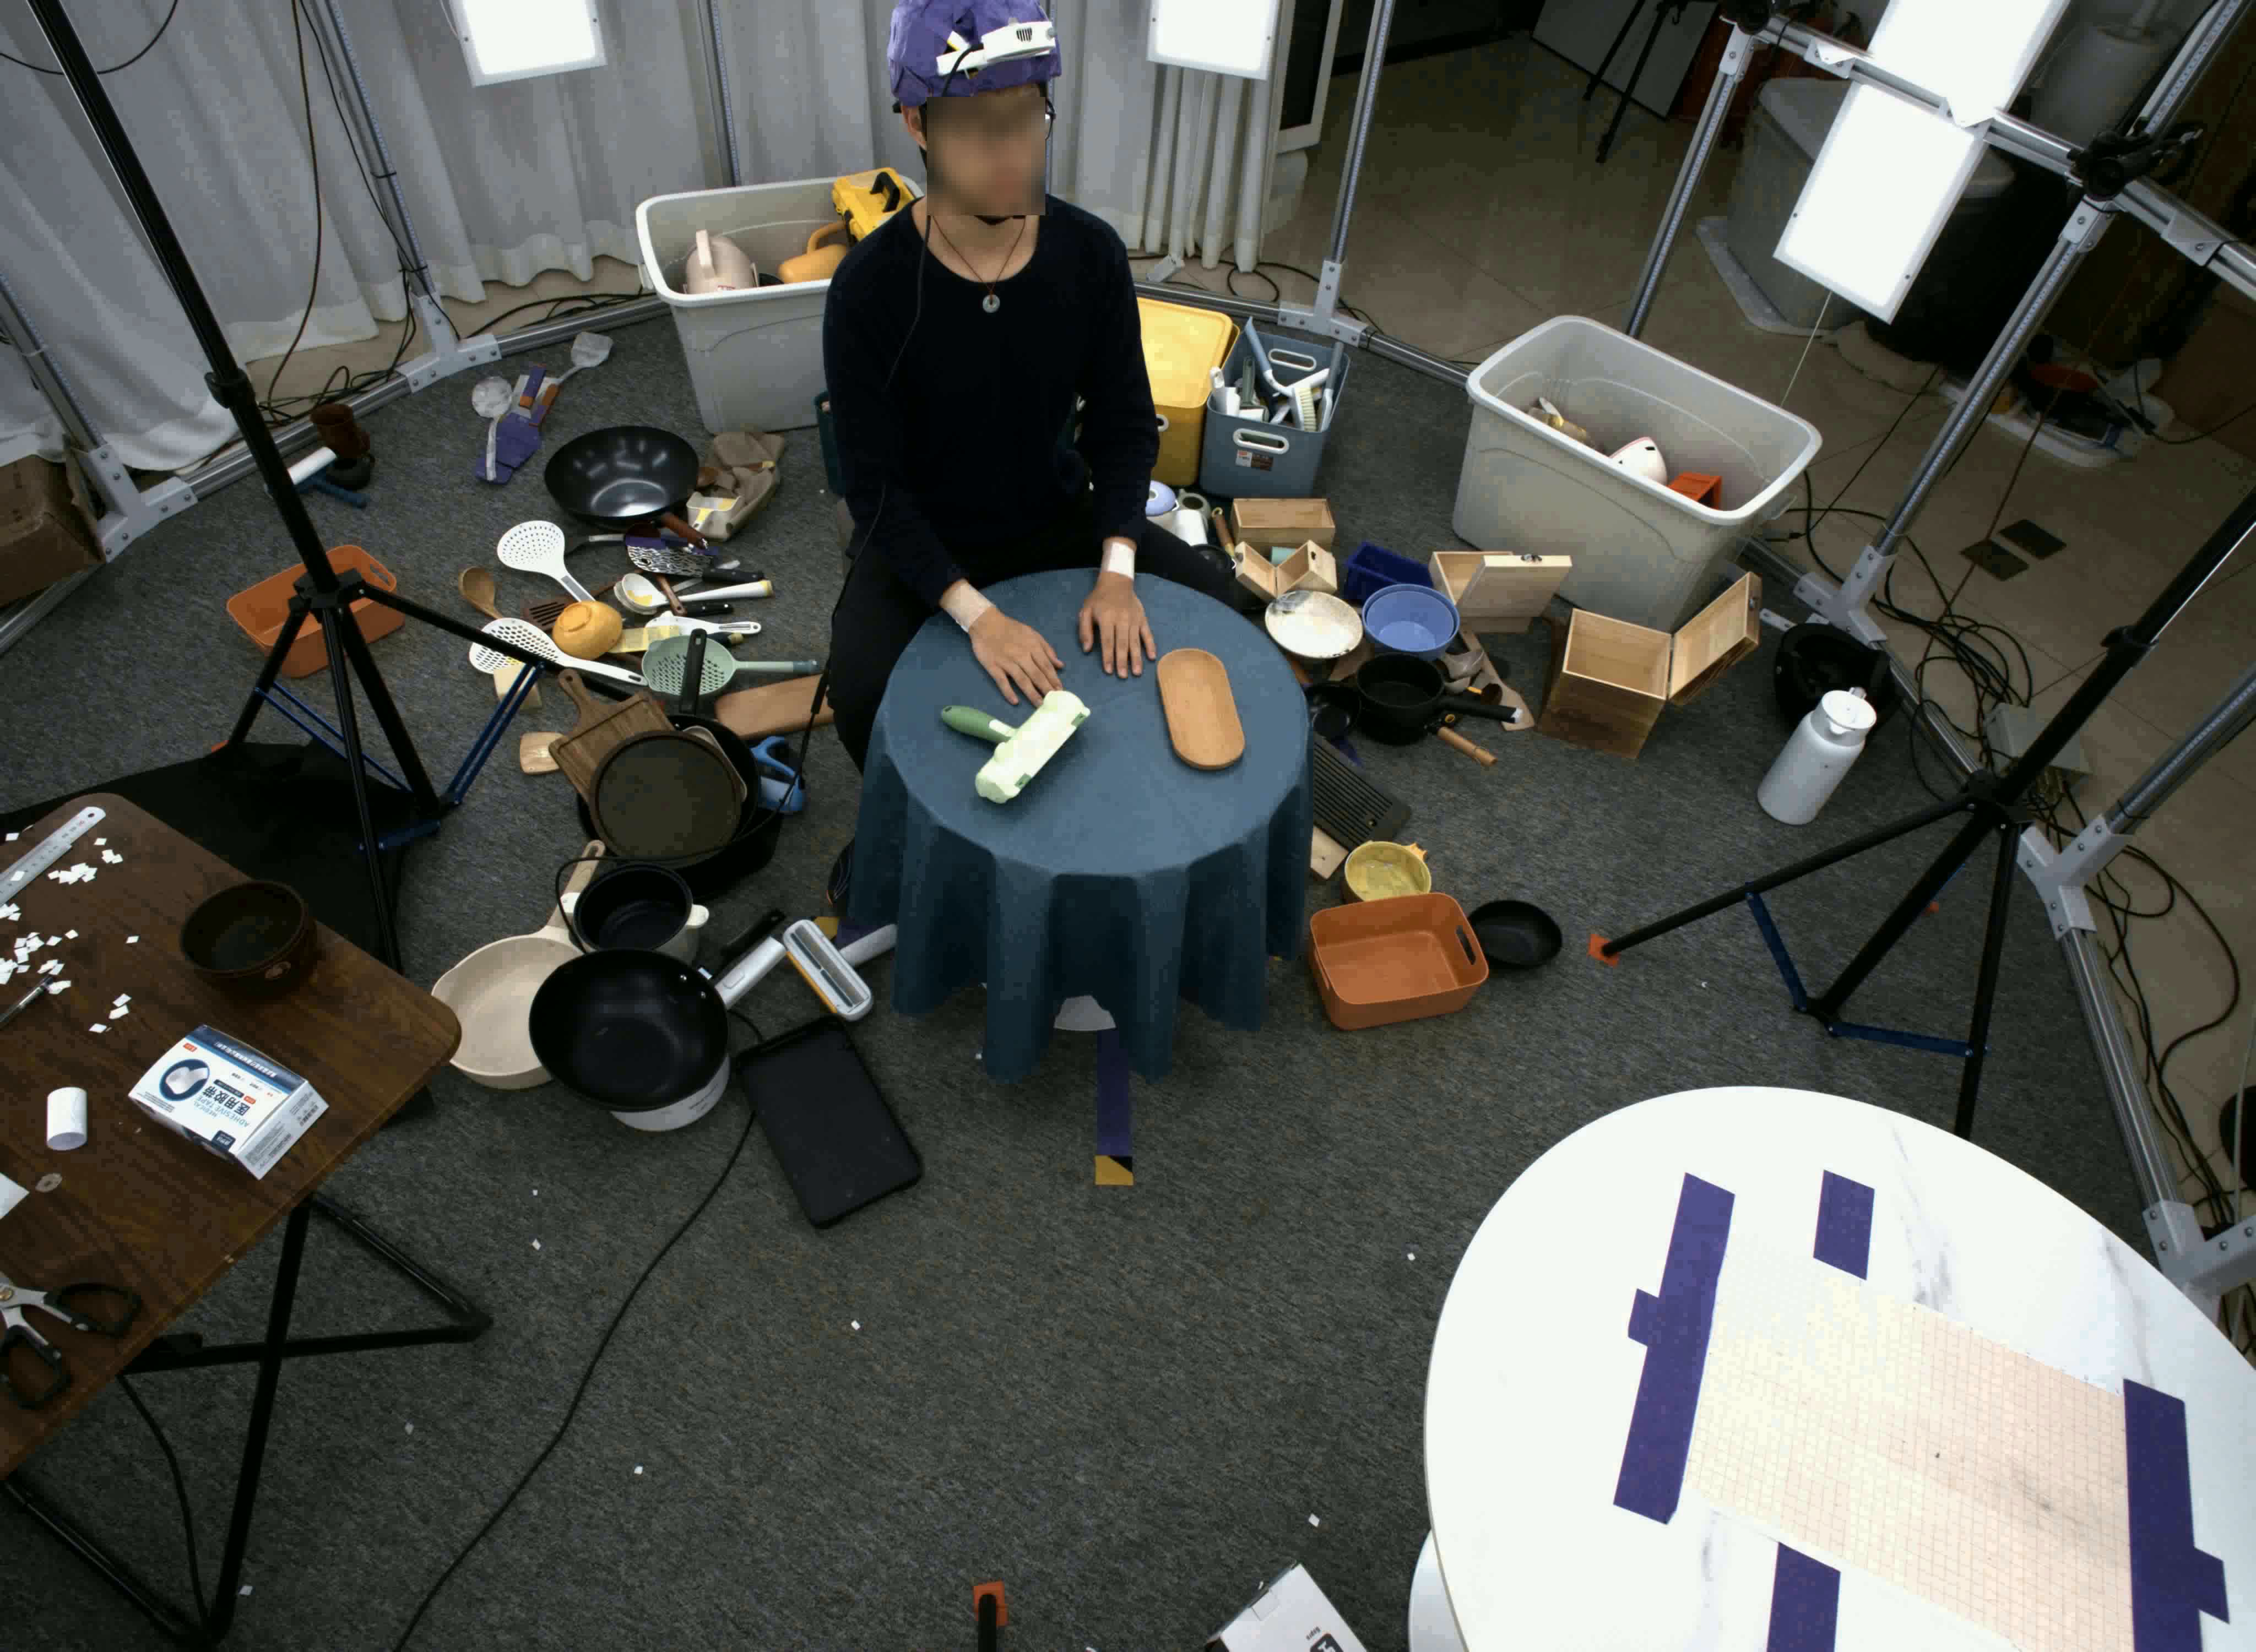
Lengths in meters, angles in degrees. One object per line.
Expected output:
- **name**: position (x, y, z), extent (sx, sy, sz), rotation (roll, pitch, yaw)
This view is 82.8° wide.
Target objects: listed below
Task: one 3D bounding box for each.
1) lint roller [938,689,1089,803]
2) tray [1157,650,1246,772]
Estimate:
- **lint roller**: position (-0.177, -0.140, 1.722), extent (0.184, 0.080, 0.202), rotation (29, 53, 13)
- **tray**: position (0.102, -0.165, 1.808), extent (0.101, 0.020, 0.237), rotation (-5, 51, -7)
